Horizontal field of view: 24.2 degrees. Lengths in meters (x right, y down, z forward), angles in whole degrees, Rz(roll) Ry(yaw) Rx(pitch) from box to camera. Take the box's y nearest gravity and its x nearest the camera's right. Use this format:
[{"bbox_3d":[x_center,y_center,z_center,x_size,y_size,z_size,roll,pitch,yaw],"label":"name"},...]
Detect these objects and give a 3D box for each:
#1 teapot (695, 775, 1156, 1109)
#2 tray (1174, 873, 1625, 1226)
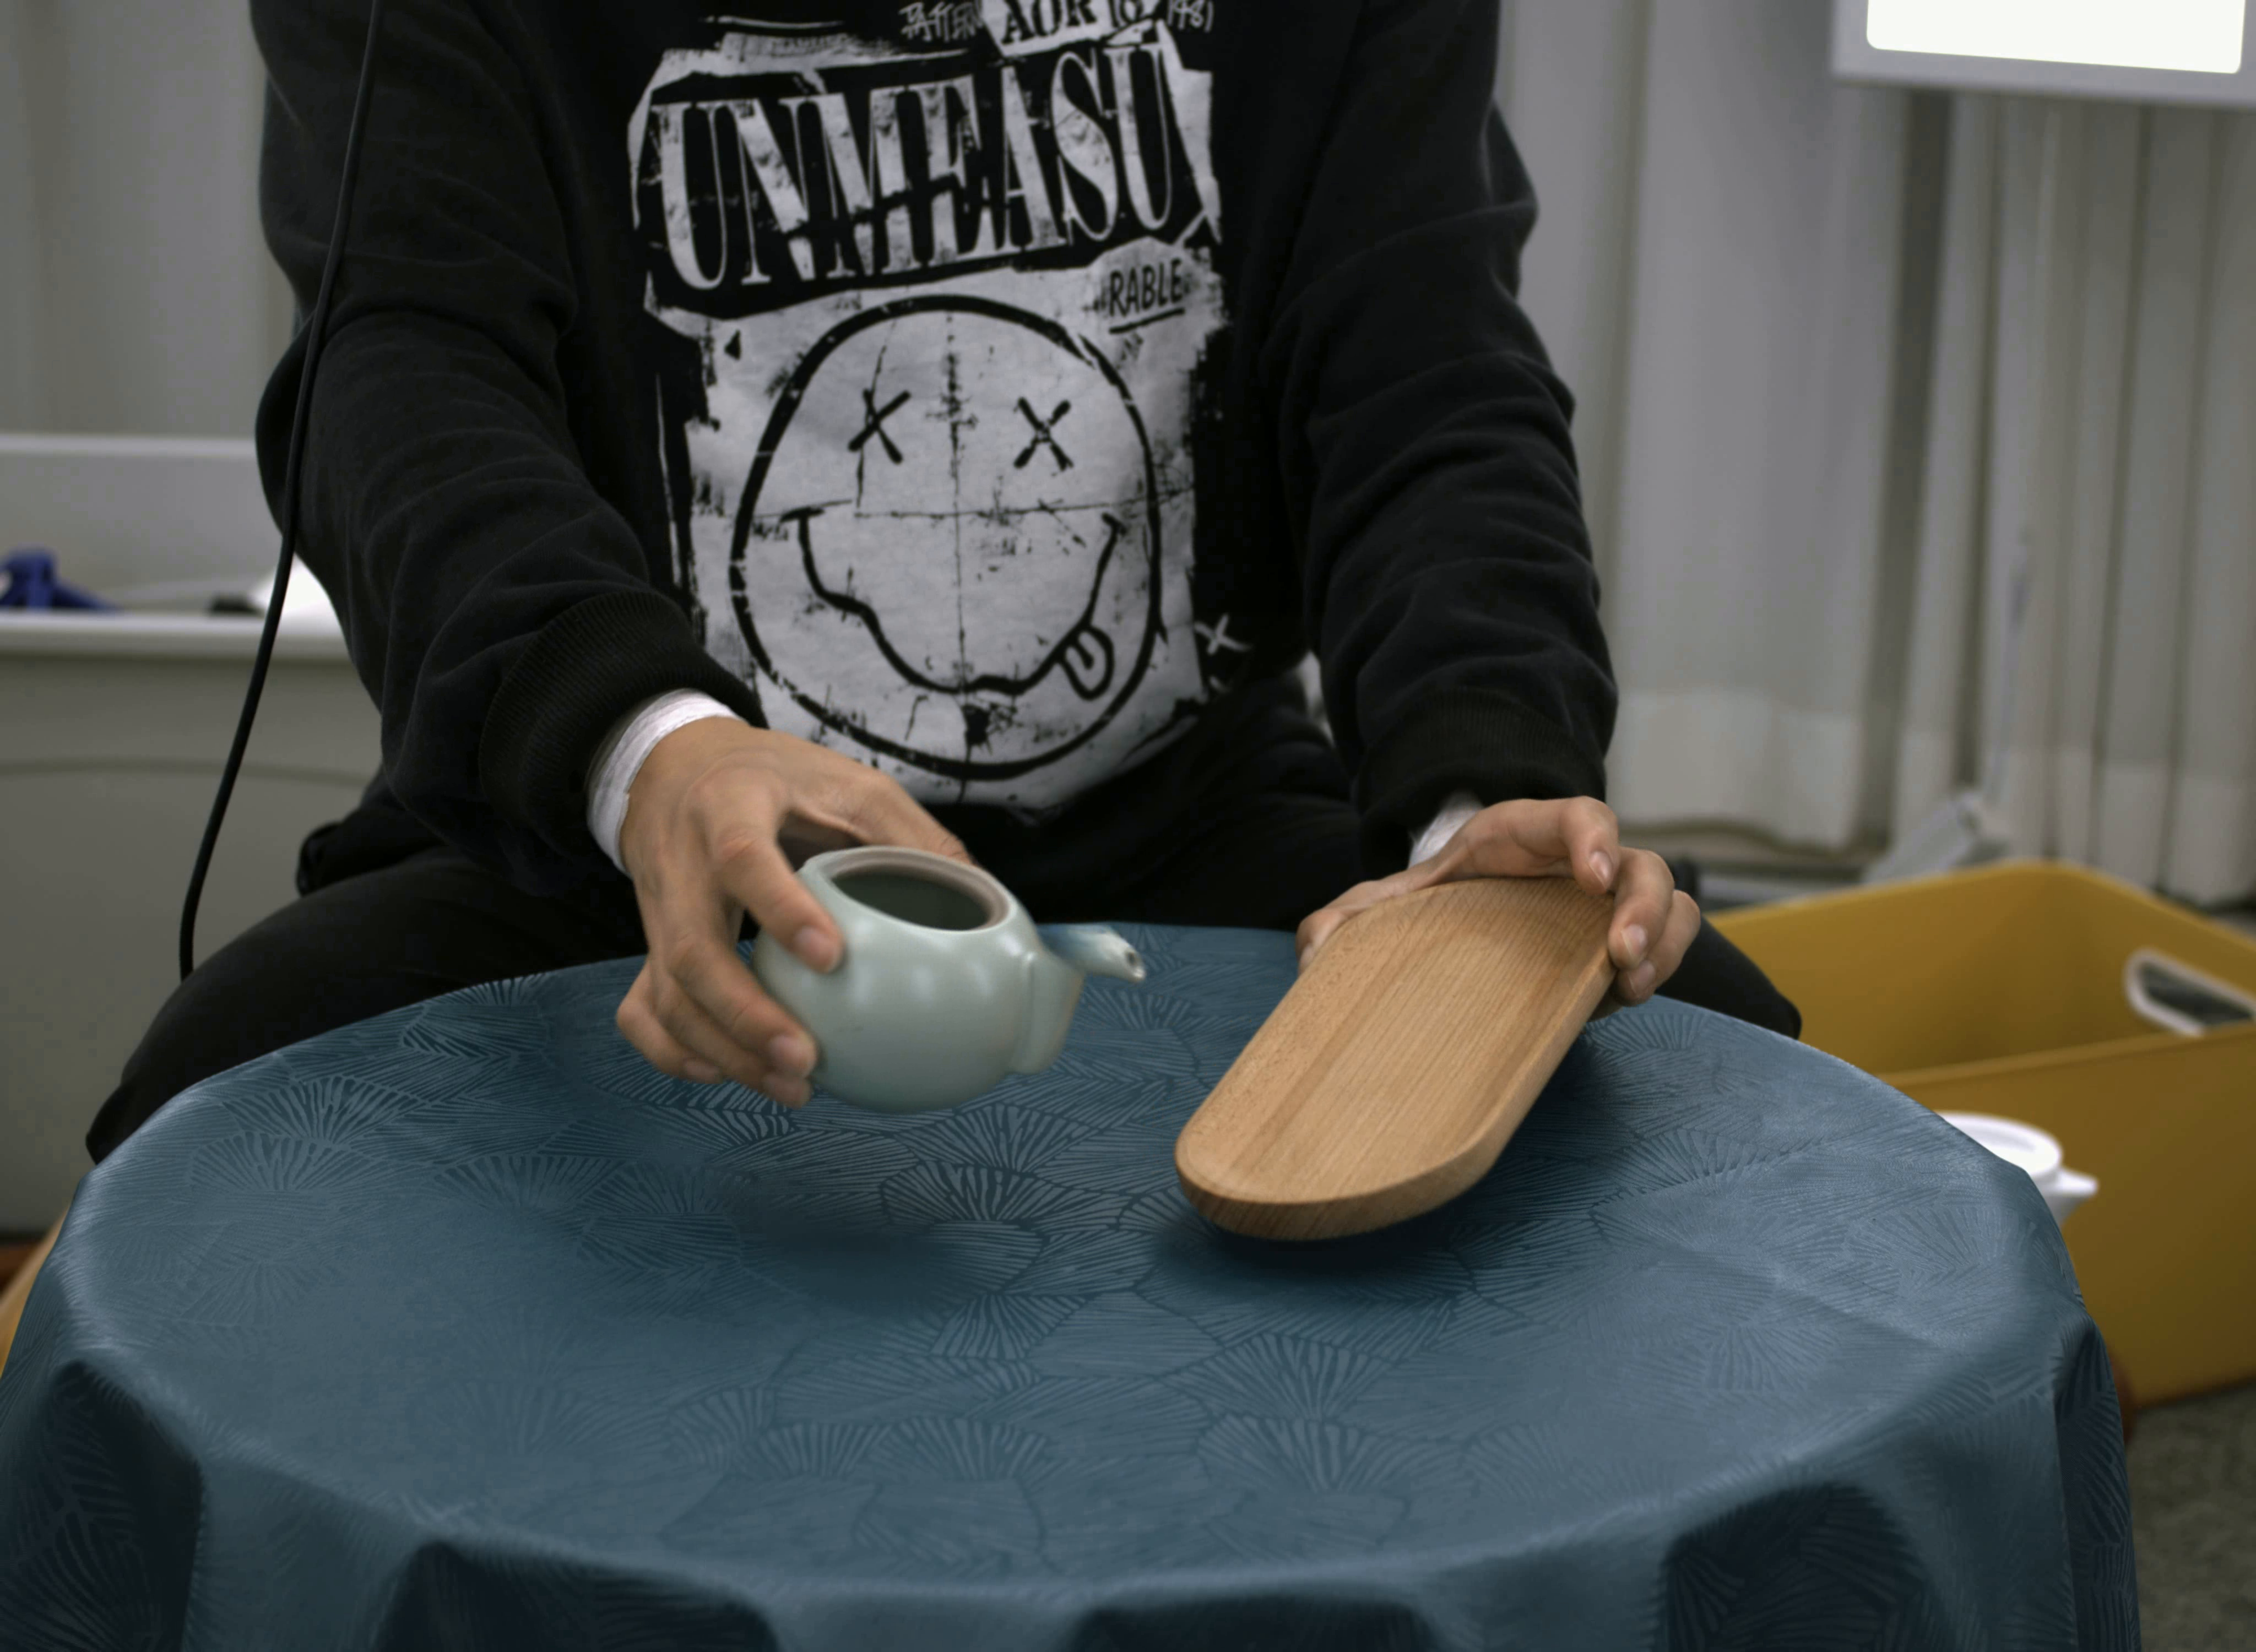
[{"bbox_3d":[-0.066,0.043,1.572,0.143,0.075,0.088,25,23,10],"label":"teapot"},{"bbox_3d":[0.087,0.067,1.638,0.101,0.020,0.231,-1,22,22],"label":"tray"}]
